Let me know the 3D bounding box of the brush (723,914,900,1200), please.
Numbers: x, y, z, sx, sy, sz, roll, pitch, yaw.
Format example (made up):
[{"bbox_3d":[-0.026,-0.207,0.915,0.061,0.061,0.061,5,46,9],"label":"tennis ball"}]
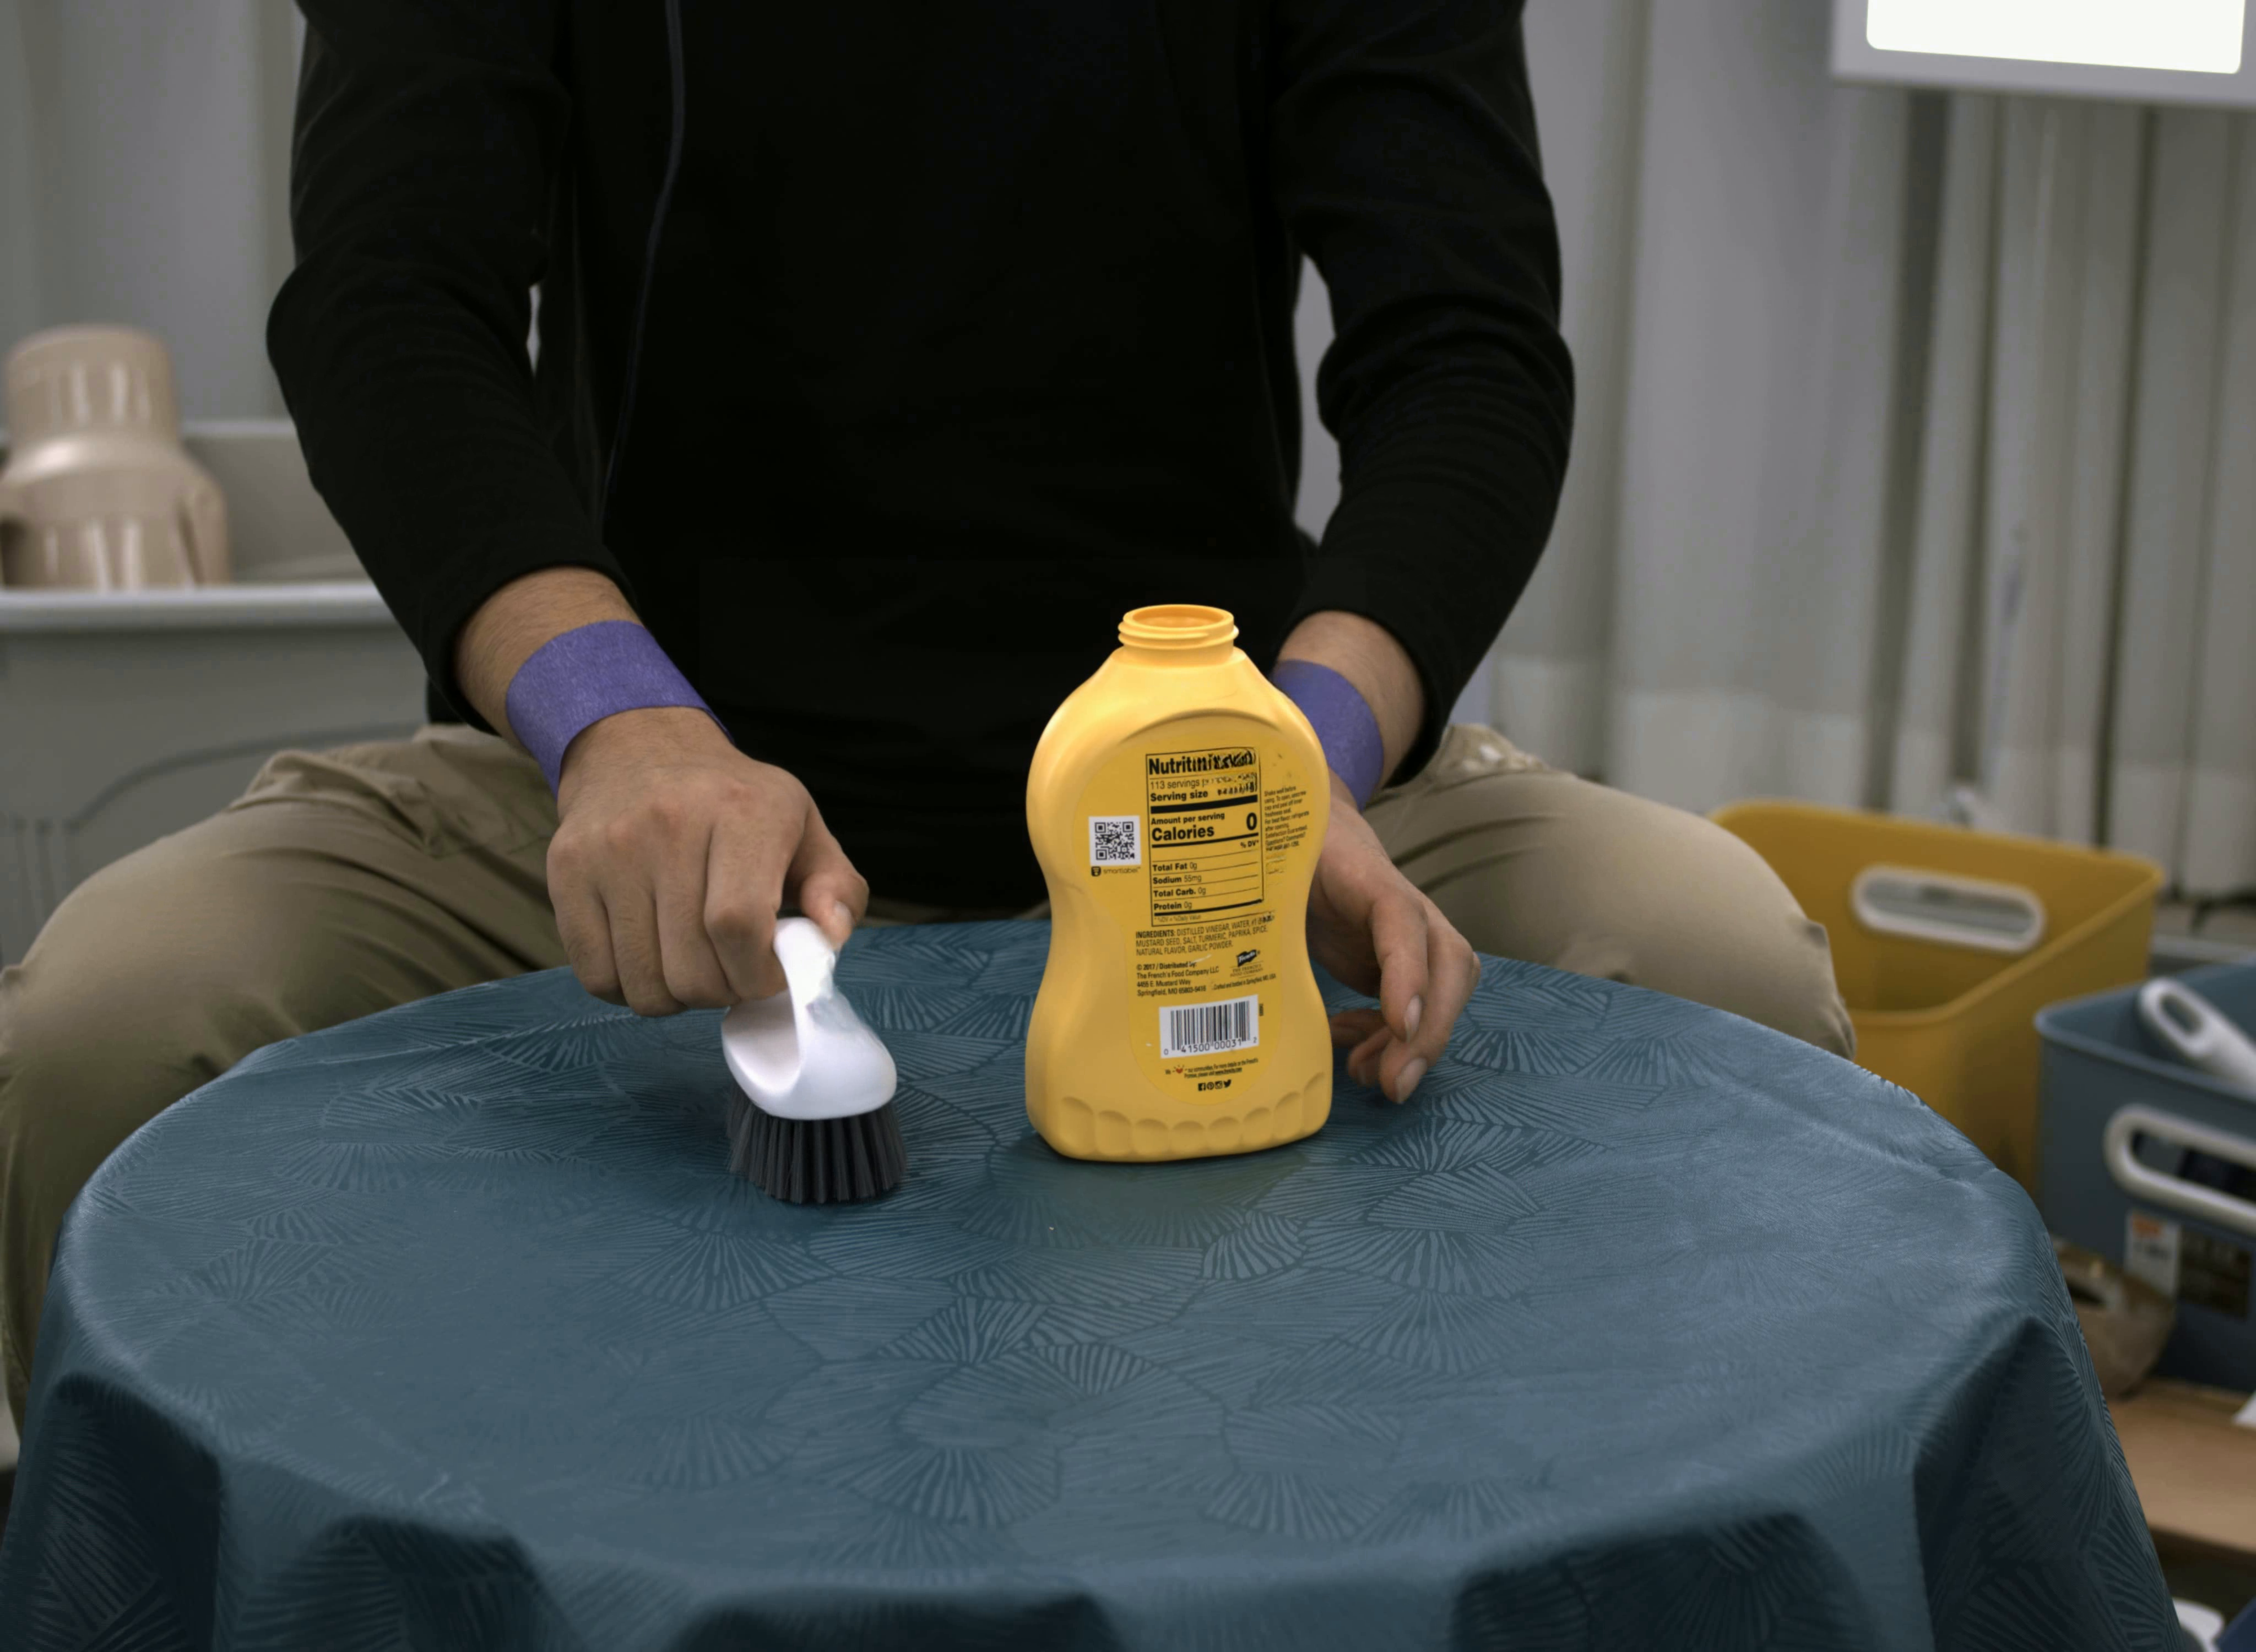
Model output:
[{"bbox_3d":[-0.100,0.066,1.637,0.050,0.073,0.098,-5,18,-11],"label":"brush"}]

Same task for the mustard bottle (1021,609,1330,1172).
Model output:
[{"bbox_3d":[0.014,0.019,1.645,0.098,0.173,0.059,-7,13,-21],"label":"mustard bottle"}]
